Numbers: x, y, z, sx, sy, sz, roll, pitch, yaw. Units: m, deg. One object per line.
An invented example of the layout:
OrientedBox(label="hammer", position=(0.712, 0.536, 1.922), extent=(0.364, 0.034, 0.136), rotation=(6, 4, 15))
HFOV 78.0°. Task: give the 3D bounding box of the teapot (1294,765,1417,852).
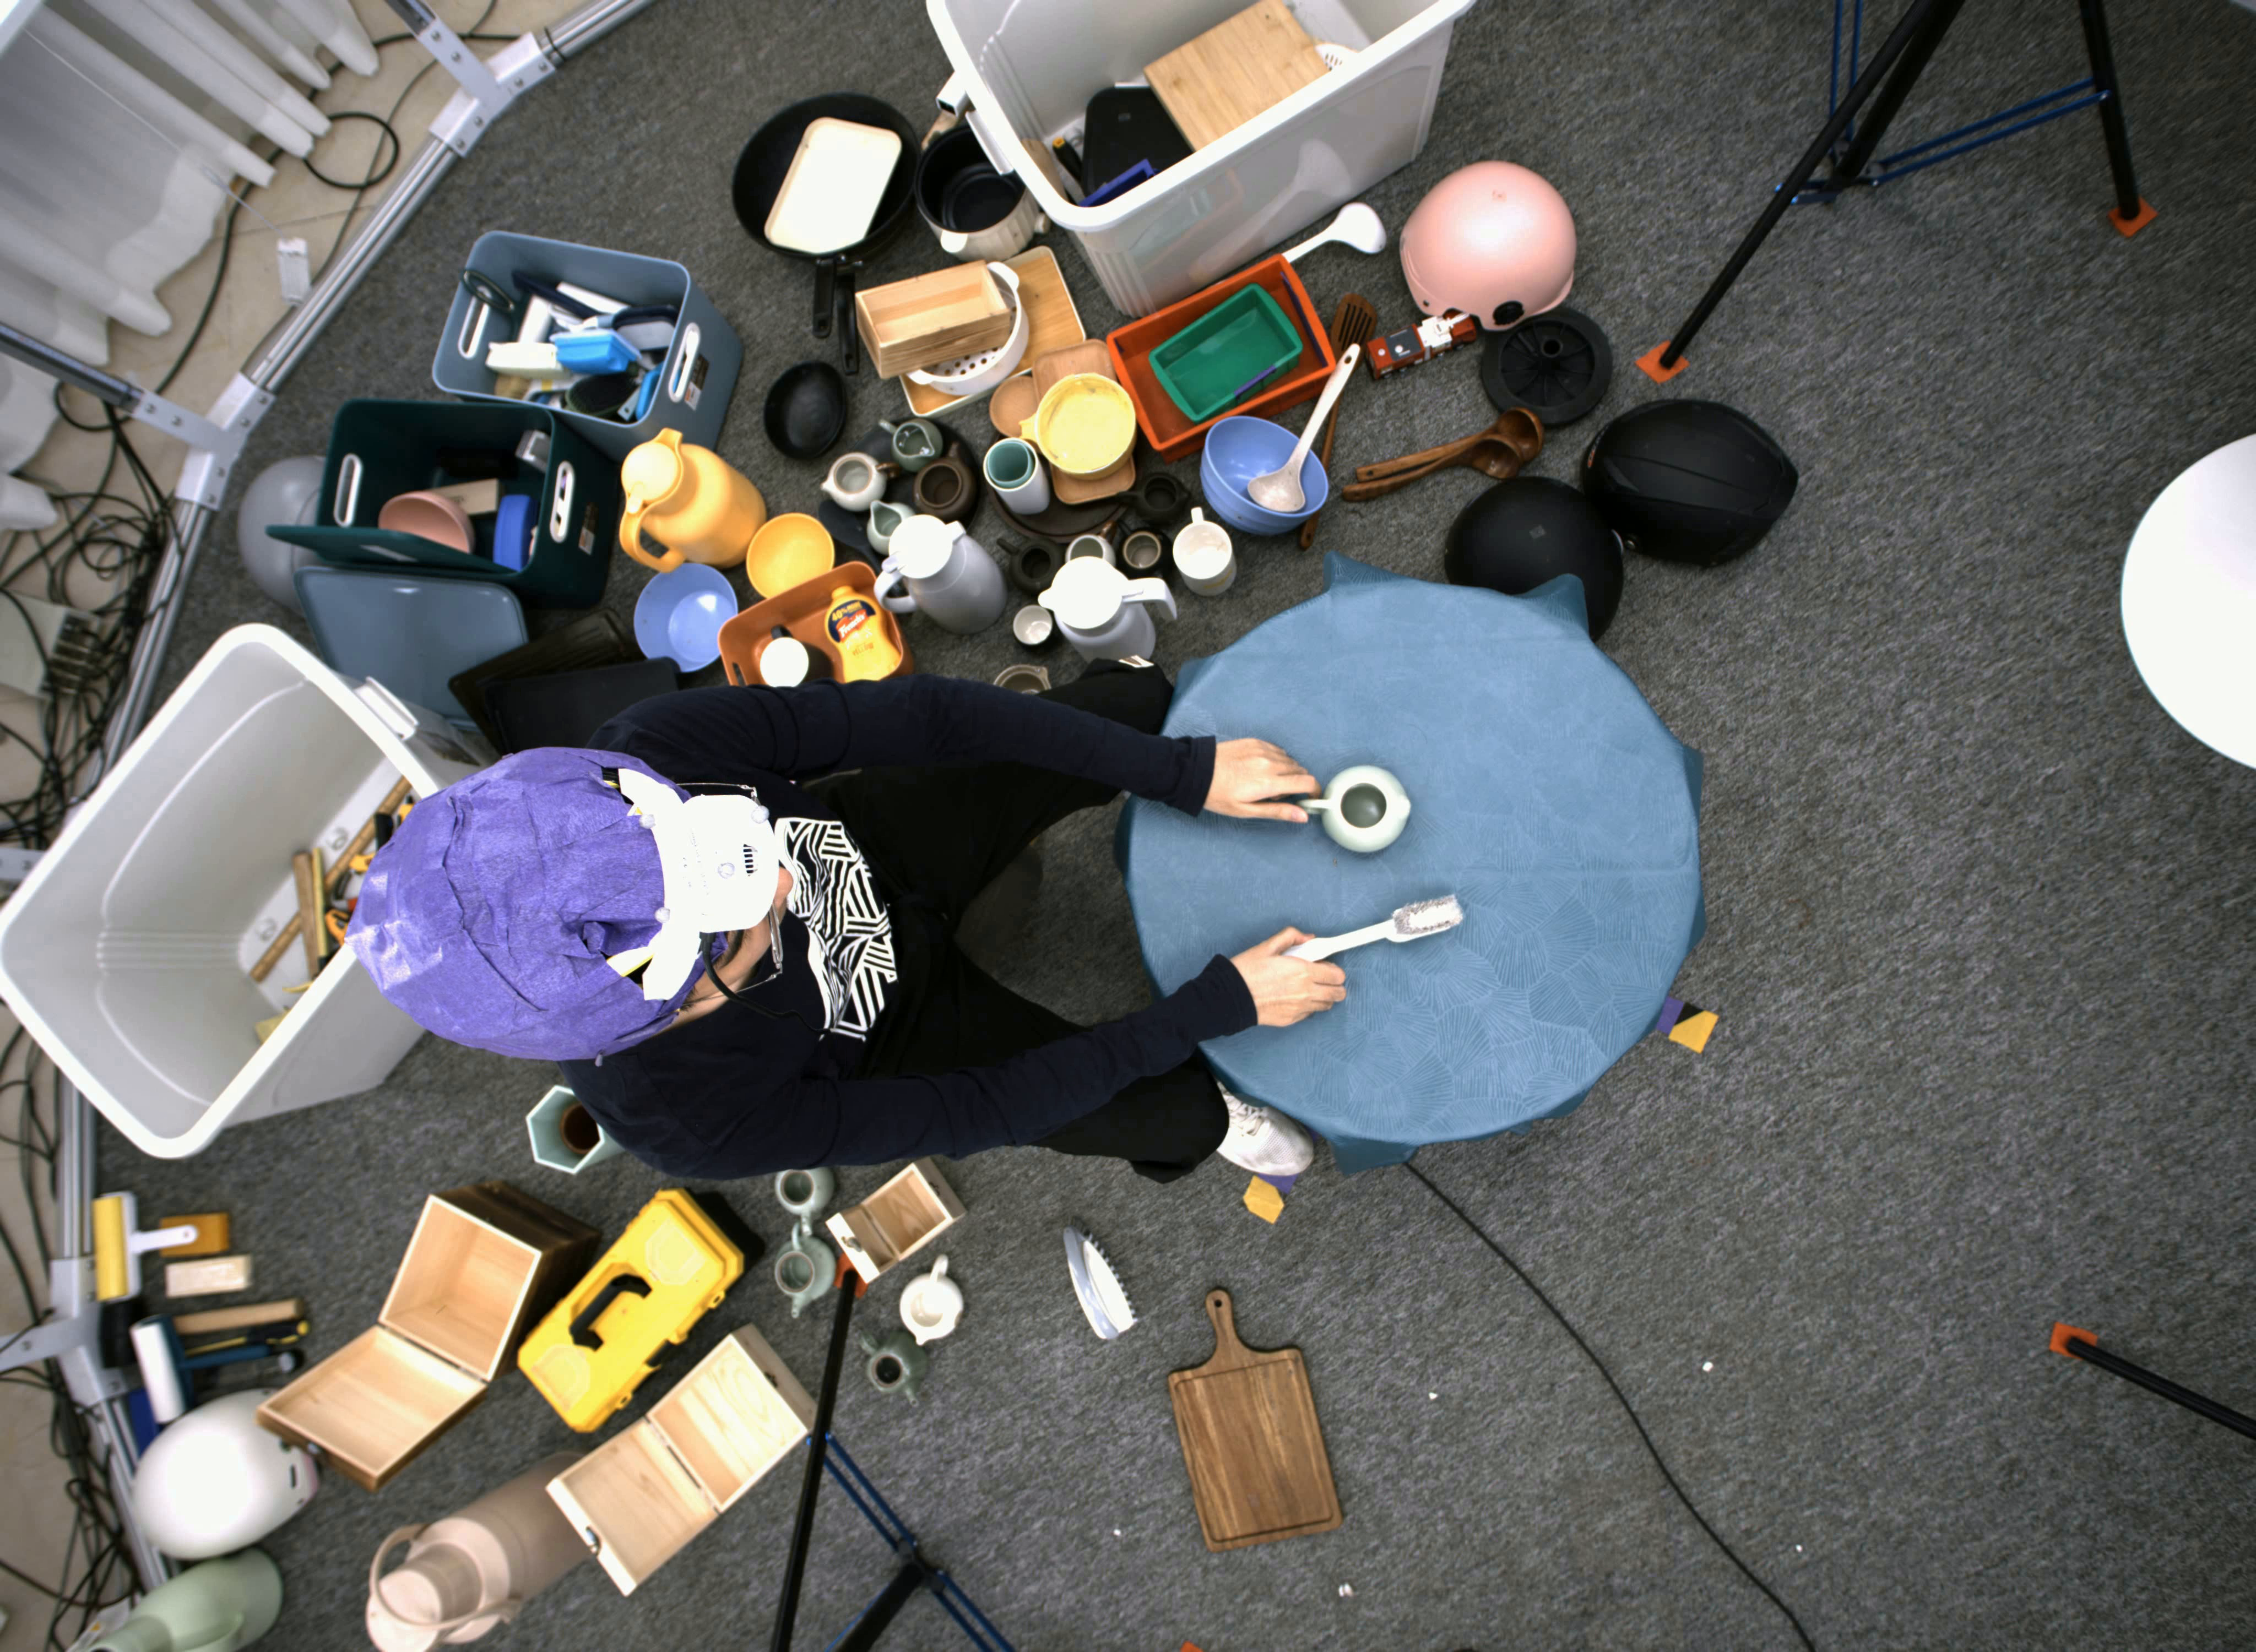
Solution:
OrientedBox(label="teapot", position=(0.237, -0.021, 1.441), extent=(0.129, 0.060, 0.091), rotation=(7, 93, 11))

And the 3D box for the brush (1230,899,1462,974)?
OrientedBox(label="brush", position=(0.224, 0.116, 1.433), extent=(0.244, 0.050, 0.034), rotation=(-13, 84, 6))
